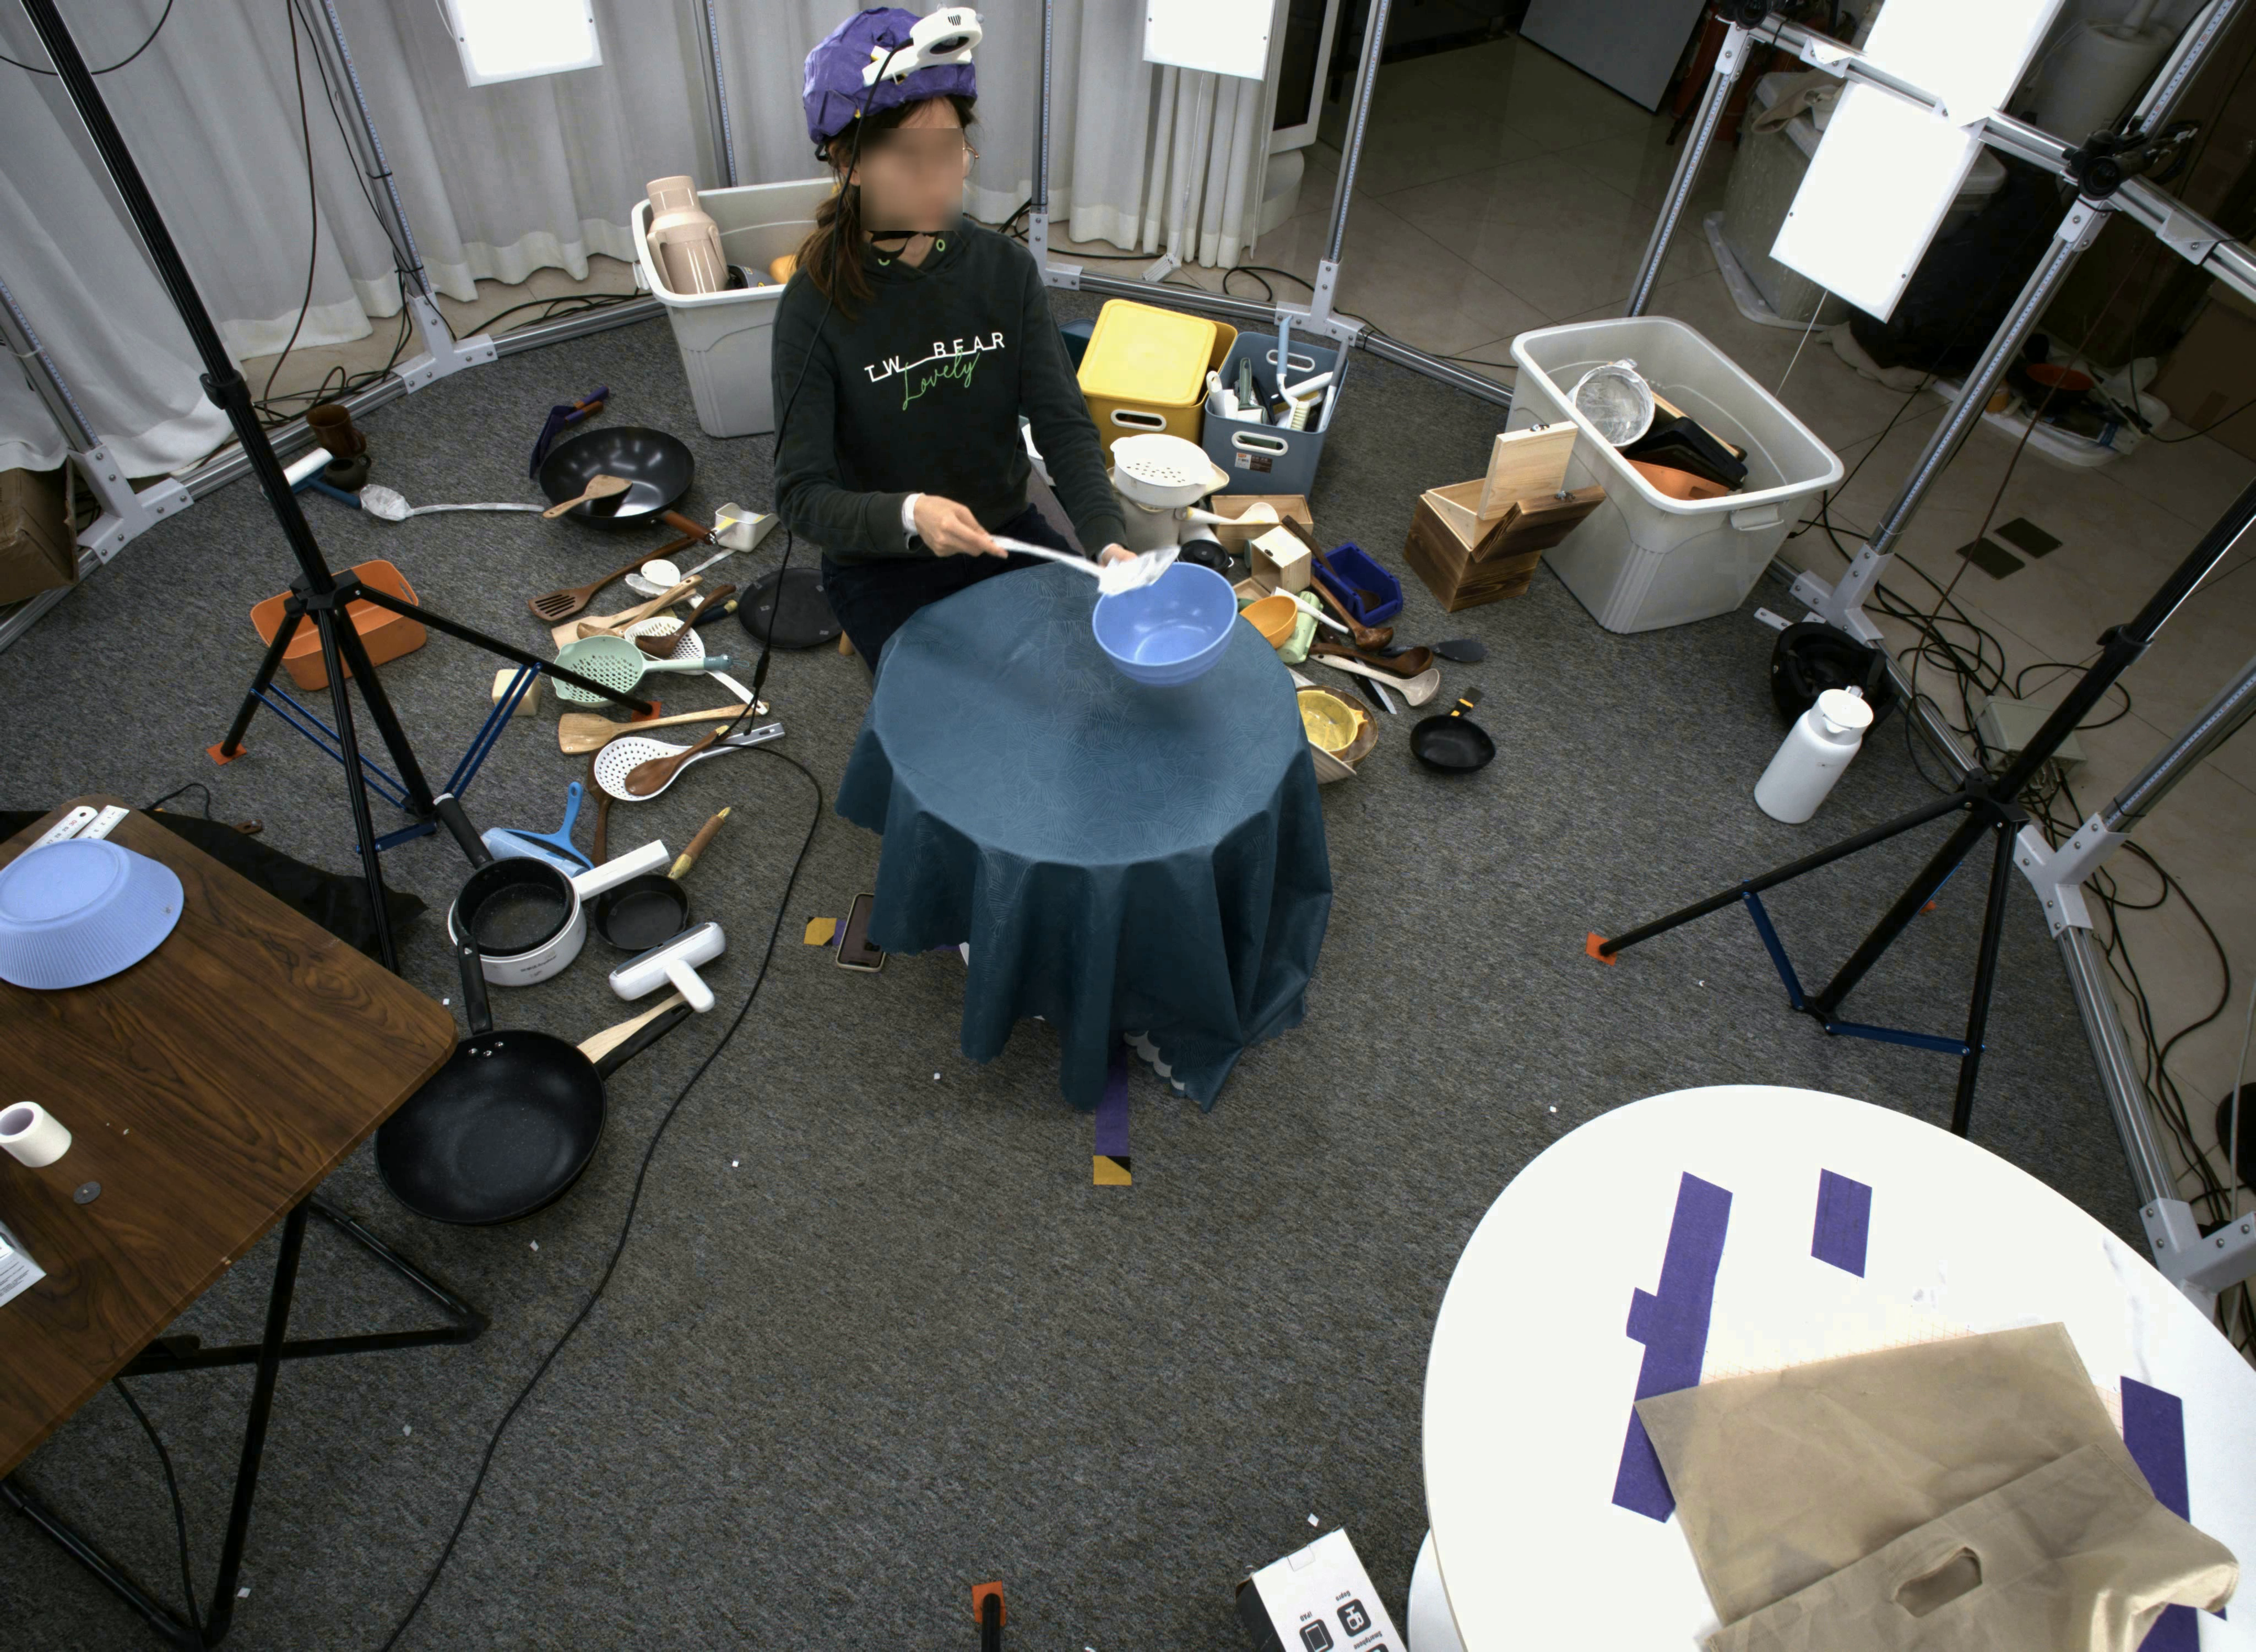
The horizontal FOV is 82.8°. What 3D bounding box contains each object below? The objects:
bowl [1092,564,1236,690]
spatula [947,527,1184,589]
[{"bbox_3d":[0.055,-0.257,1.759,0.196,0.093,0.201,-6,52,8],"label":"bowl"},{"bbox_3d":[-0.098,-0.362,1.672,0.368,0.043,0.100,18,52,26],"label":"spatula"}]
